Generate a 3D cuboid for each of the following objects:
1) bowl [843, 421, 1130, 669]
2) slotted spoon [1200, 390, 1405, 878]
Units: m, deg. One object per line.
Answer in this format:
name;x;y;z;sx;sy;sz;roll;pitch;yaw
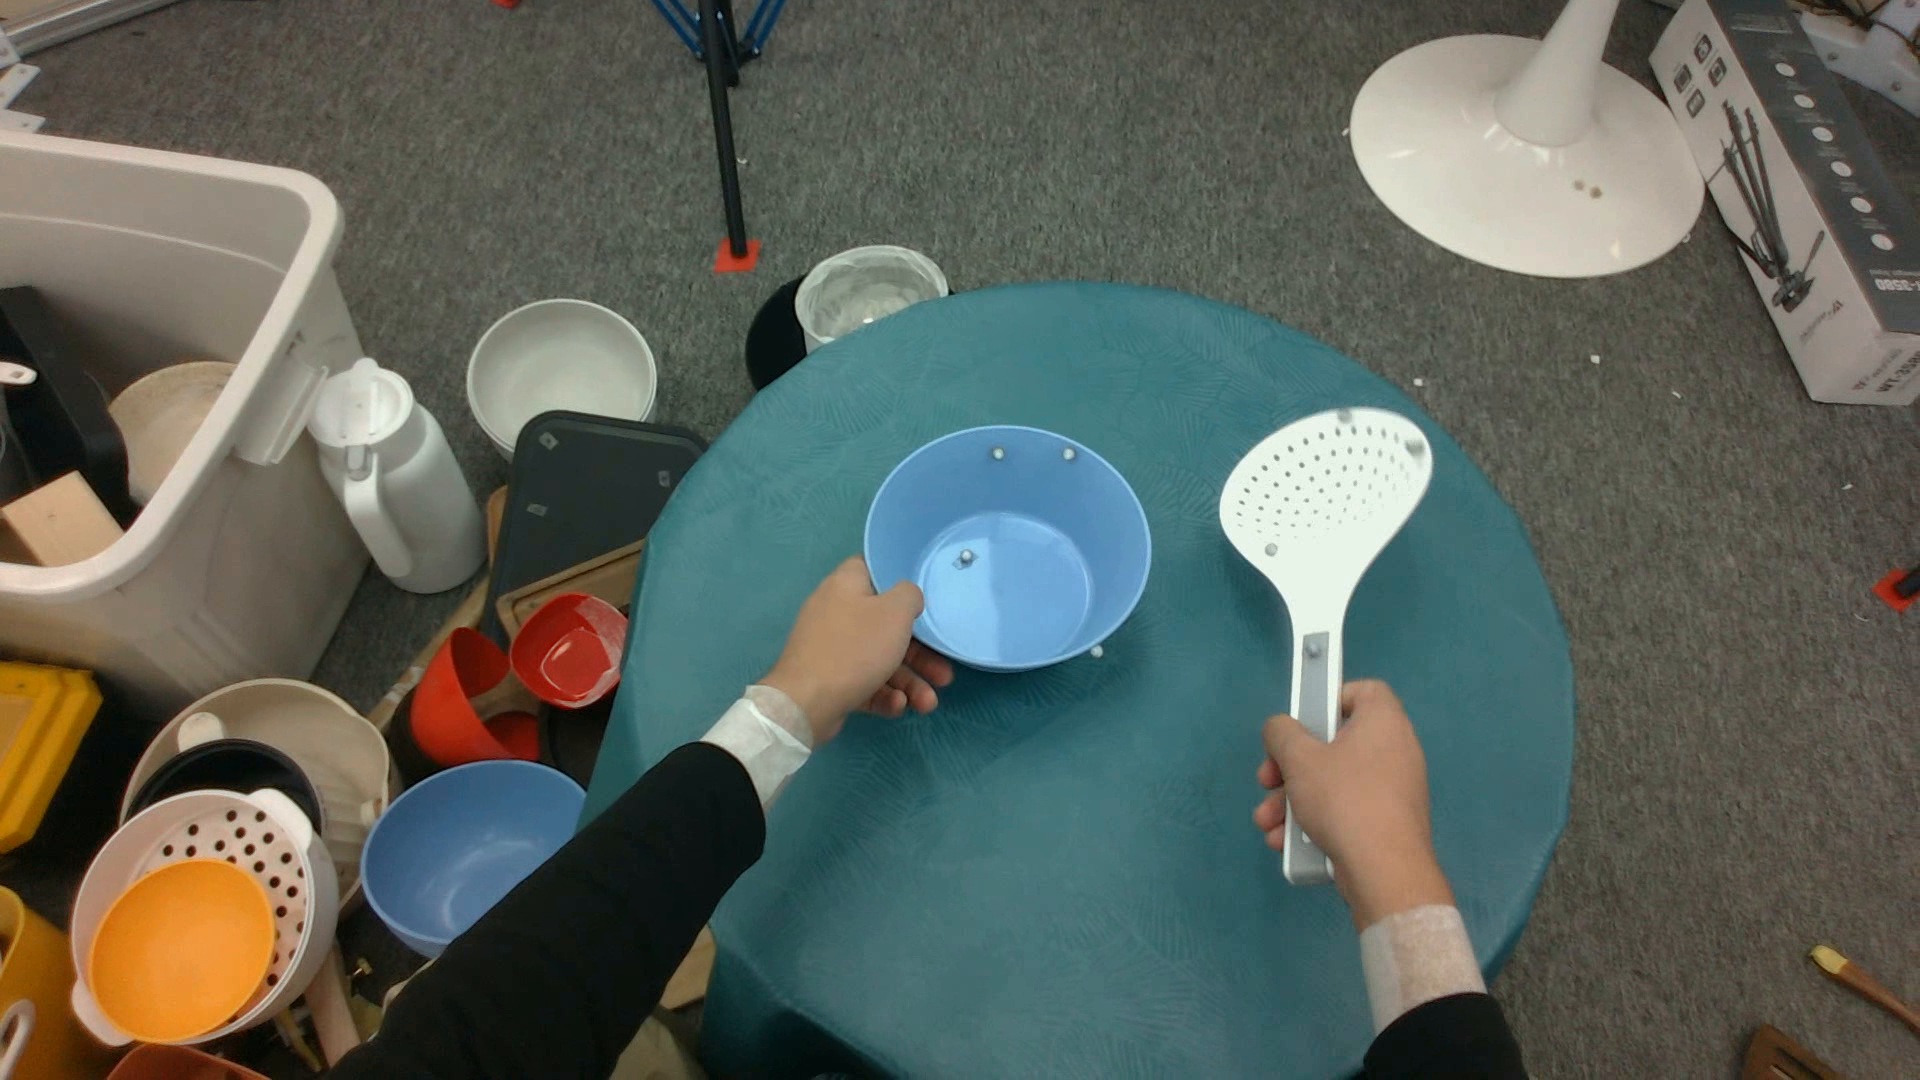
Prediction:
bowl;0.015;0.014;0.865;0.176;0.070;0.177;1;58;-1
slotted spoon;0.201;0.039;0.810;0.135;0.045;0.351;-15;38;28
